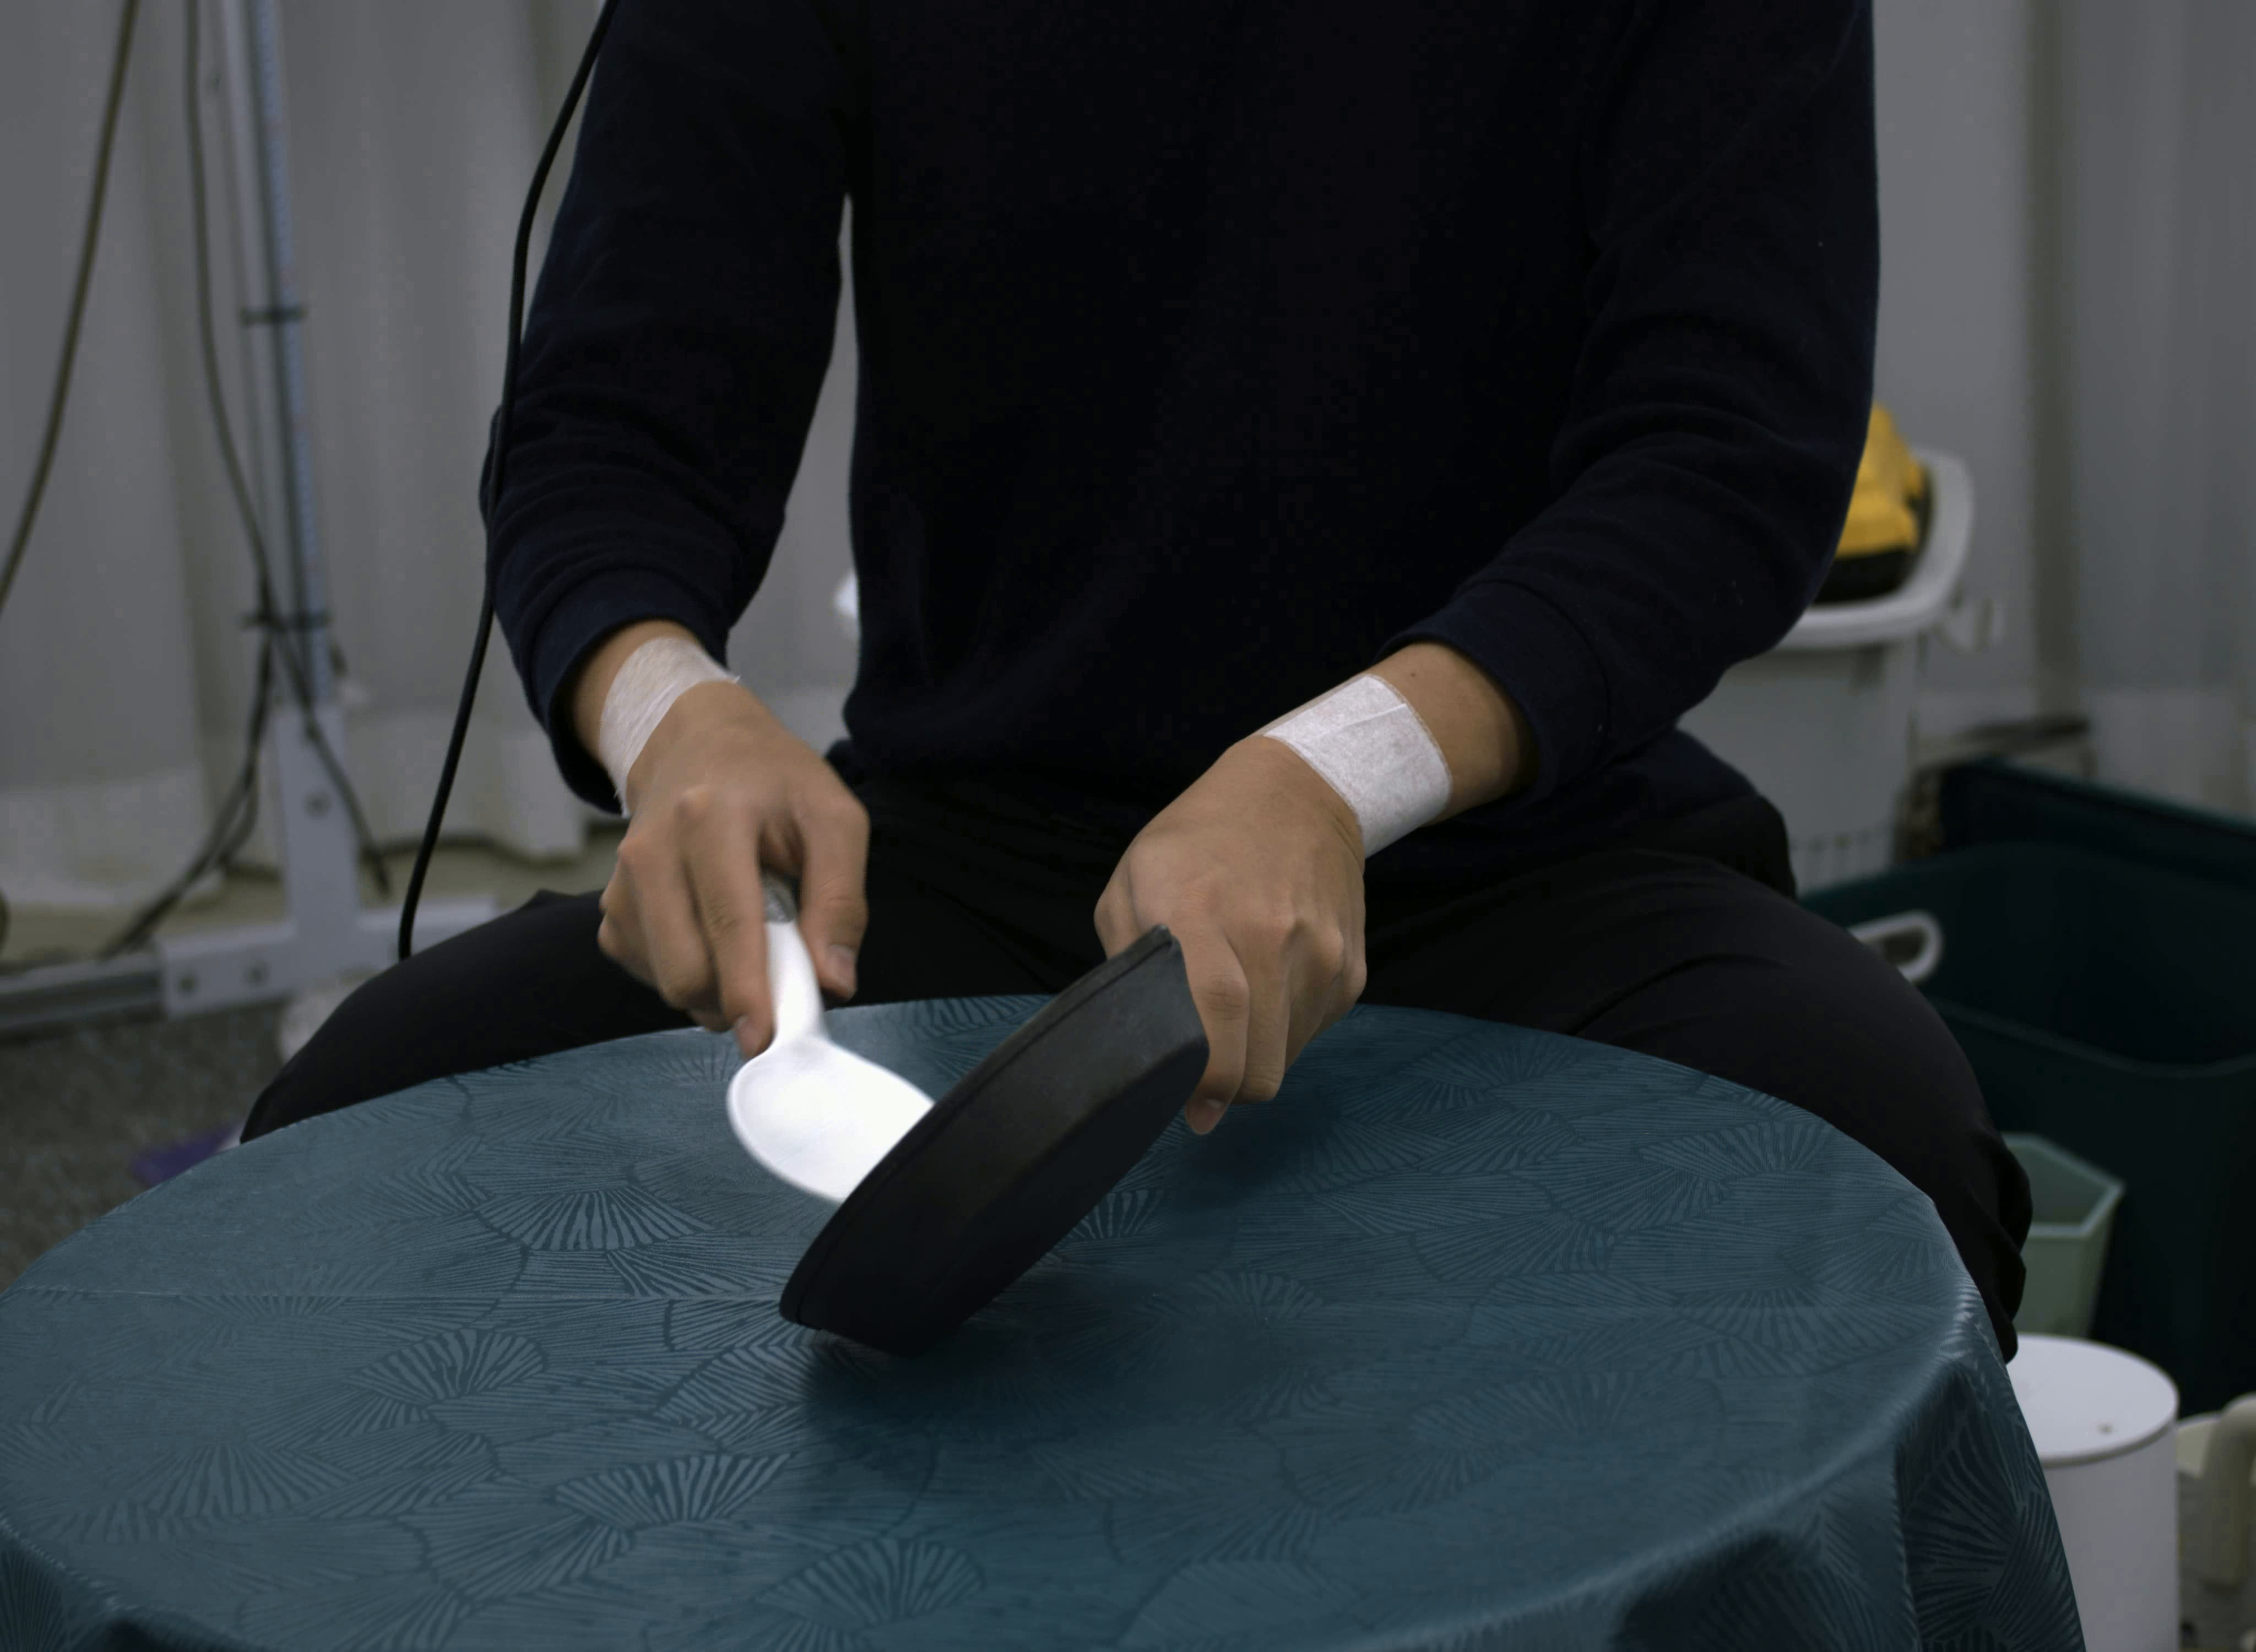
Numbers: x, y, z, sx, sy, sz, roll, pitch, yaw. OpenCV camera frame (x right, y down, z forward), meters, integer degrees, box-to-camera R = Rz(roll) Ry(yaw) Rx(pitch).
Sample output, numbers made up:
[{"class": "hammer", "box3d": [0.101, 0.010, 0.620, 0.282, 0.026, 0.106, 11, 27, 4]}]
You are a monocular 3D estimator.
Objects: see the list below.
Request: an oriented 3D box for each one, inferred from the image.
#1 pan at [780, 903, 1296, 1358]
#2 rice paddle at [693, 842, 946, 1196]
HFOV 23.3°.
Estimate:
[{"class": "pan", "box3d": [-0.002, 0.076, 1.645, 0.050, 0.168, 0.324, 44, 25, 10]}, {"class": "rice paddle", "box3d": [-0.095, 0.062, 1.674, 0.068, 0.029, 0.208, 4, 24, -19]}]
